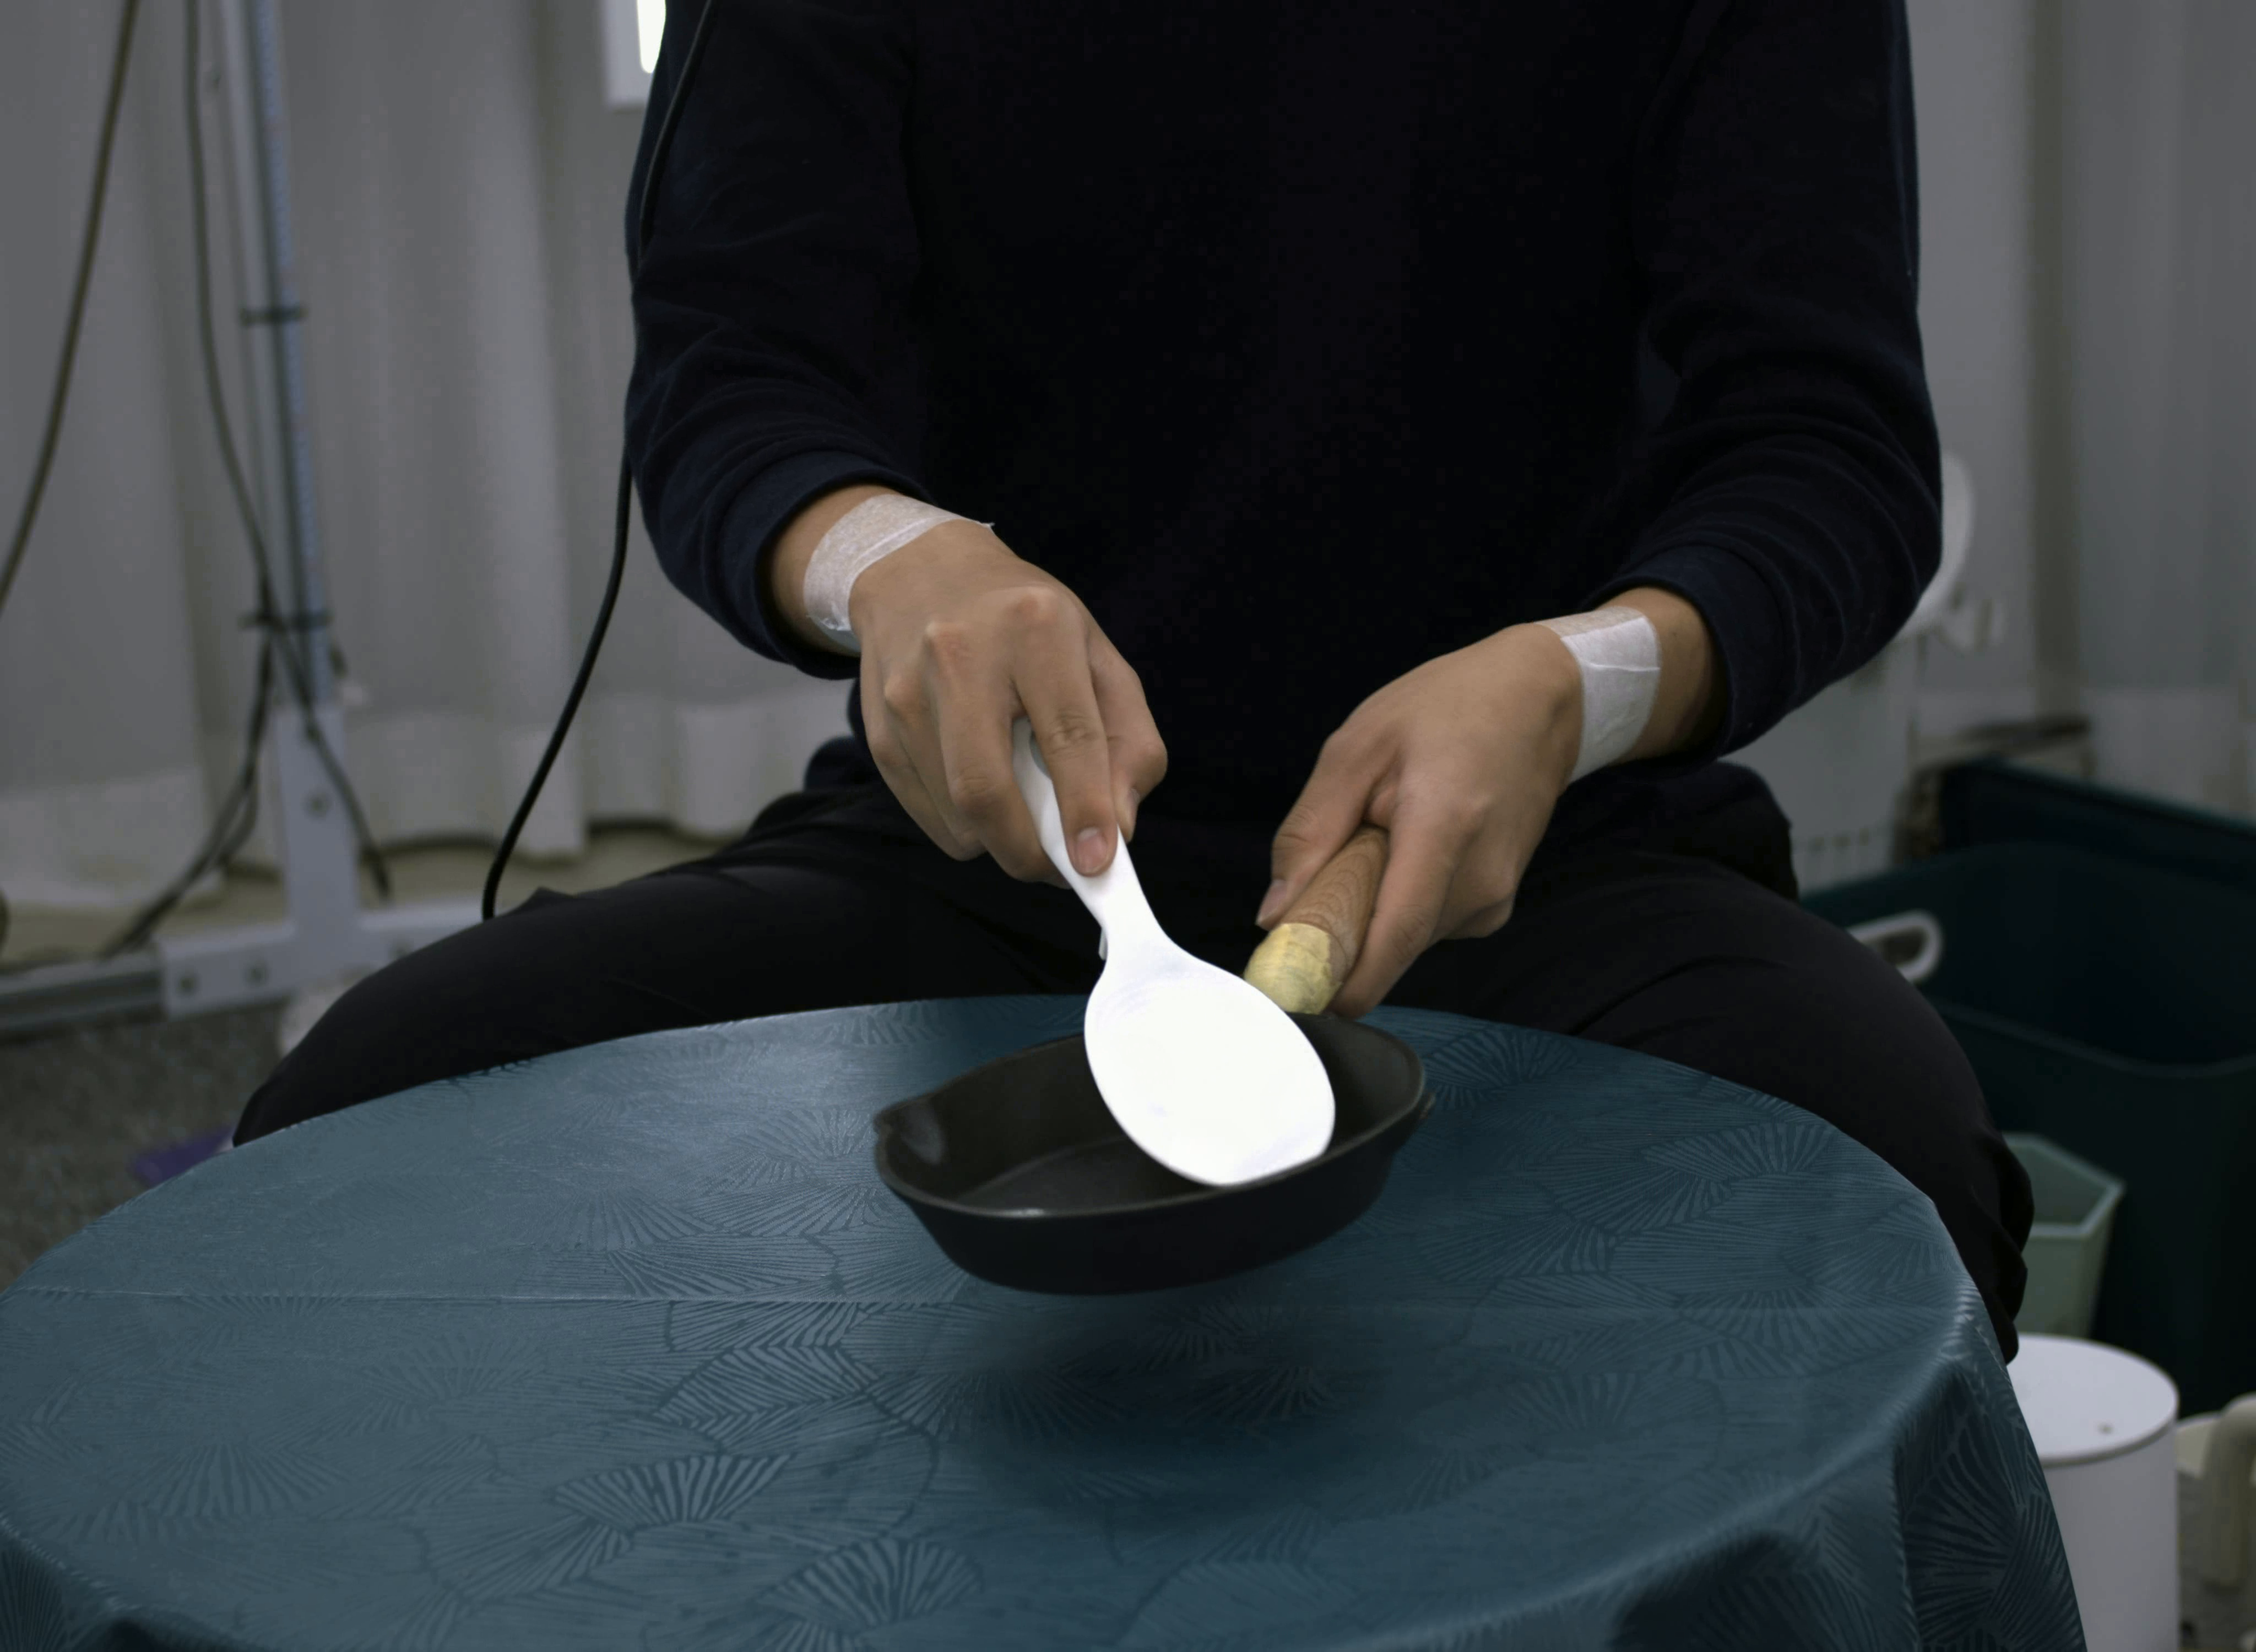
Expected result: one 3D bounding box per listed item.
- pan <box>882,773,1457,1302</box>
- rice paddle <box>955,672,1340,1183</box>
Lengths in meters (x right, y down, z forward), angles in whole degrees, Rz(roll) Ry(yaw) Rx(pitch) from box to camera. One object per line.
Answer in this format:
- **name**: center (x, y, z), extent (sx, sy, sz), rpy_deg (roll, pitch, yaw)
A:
- **pan**: center (0.042, 0.059, 1.616), extent (0.169, 0.049, 0.326), rpy_deg (-1, 20, 25)
- **rice paddle**: center (0.002, 0.031, 1.612), extent (0.068, 0.029, 0.208), rpy_deg (-10, 46, -22)
